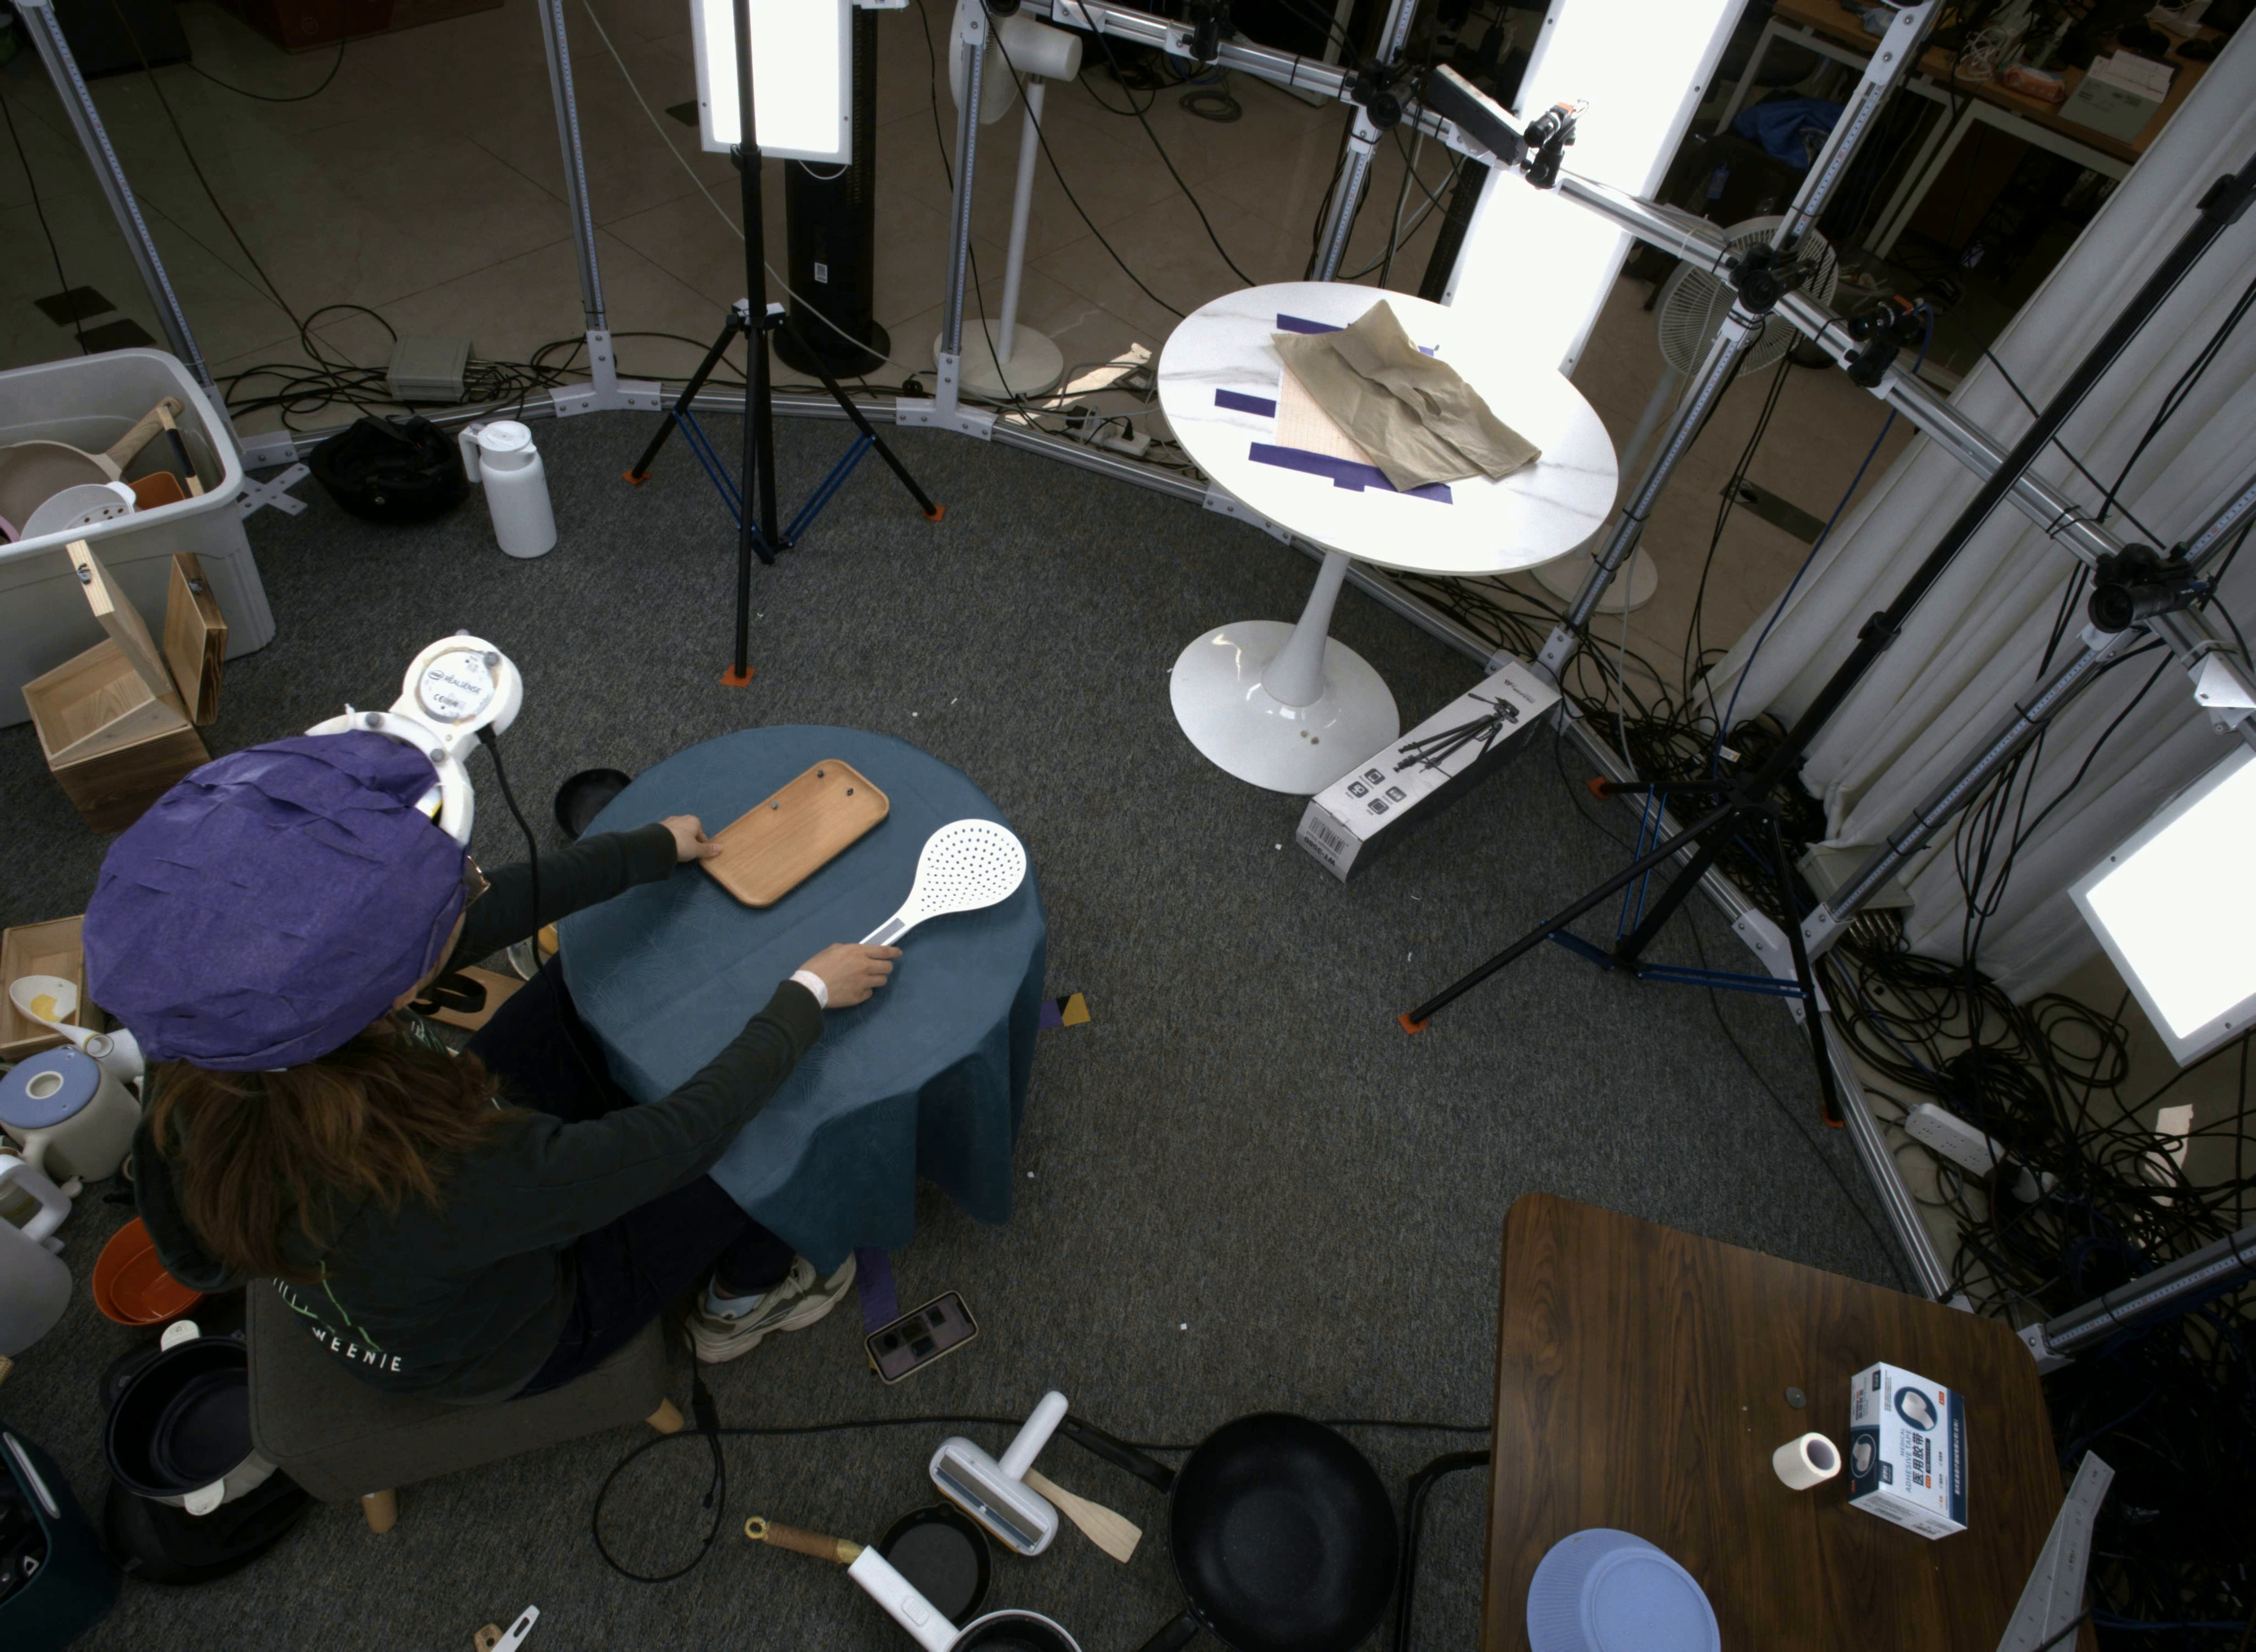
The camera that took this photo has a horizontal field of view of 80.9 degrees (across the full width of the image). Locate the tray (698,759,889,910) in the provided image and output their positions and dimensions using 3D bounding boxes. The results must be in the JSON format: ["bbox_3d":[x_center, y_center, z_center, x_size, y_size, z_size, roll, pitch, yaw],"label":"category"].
[{"bbox_3d":[-0.438,0.007,1.709,0.127,0.023,0.251,37,55,16],"label":"tray"}]

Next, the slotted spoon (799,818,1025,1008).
[{"bbox_3d":[-0.275,0.111,1.656,0.133,0.047,0.350,39,55,18],"label":"slotted spoon"}]
